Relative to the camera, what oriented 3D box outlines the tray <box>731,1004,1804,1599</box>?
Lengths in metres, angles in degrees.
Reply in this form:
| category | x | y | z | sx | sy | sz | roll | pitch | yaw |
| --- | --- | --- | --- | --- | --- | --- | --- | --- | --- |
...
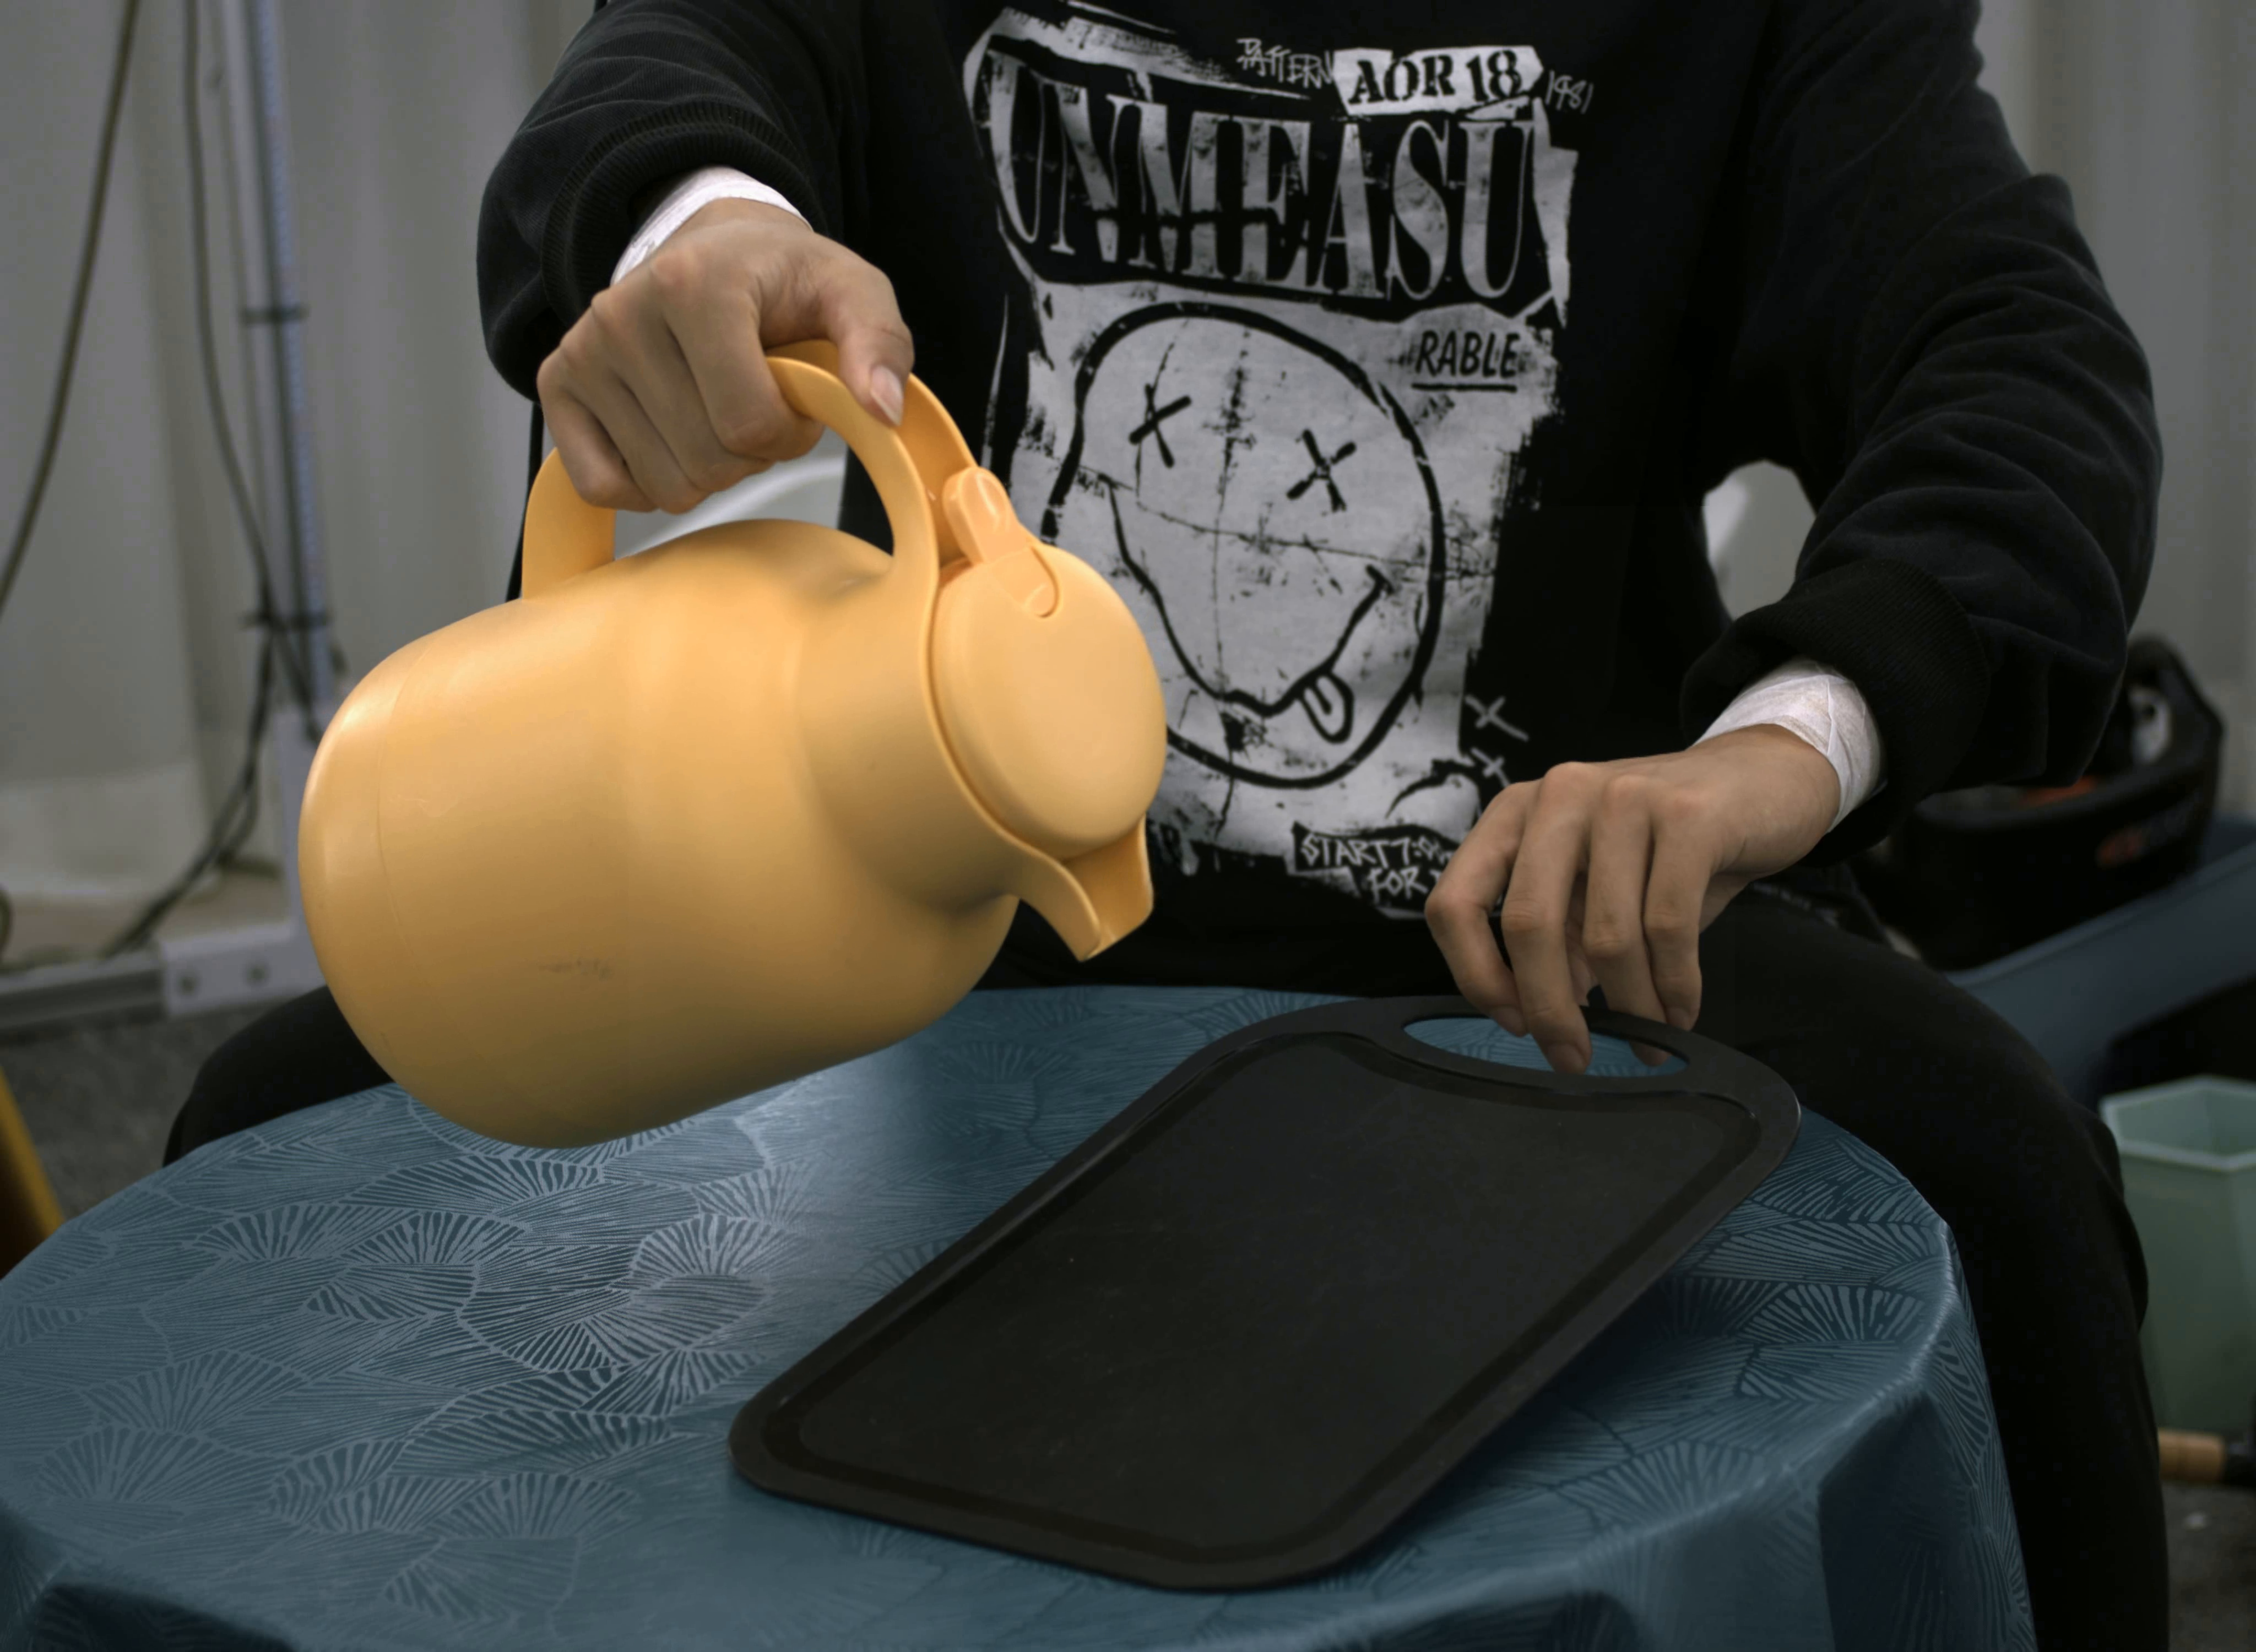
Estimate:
| category | x | y | z | sx | sy | sz | roll | pitch | yaw |
| --- | --- | --- | --- | --- | --- | --- | --- | --- | --- |
| tray | 0.048 | 0.123 | 1.556 | 0.212 | 0.010 | 0.326 | 9 | 29 | 36 |

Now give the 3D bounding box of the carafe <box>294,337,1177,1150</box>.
| category | x | y | z | sx | sy | sz | roll | pitch | yaw |
| --- | --- | --- | --- | --- | --- | --- | --- | --- | --- |
| carafe | -0.114 | -0.025 | 1.586 | 0.260 | 0.203 | 0.163 | -19 | 2 | 35 |
